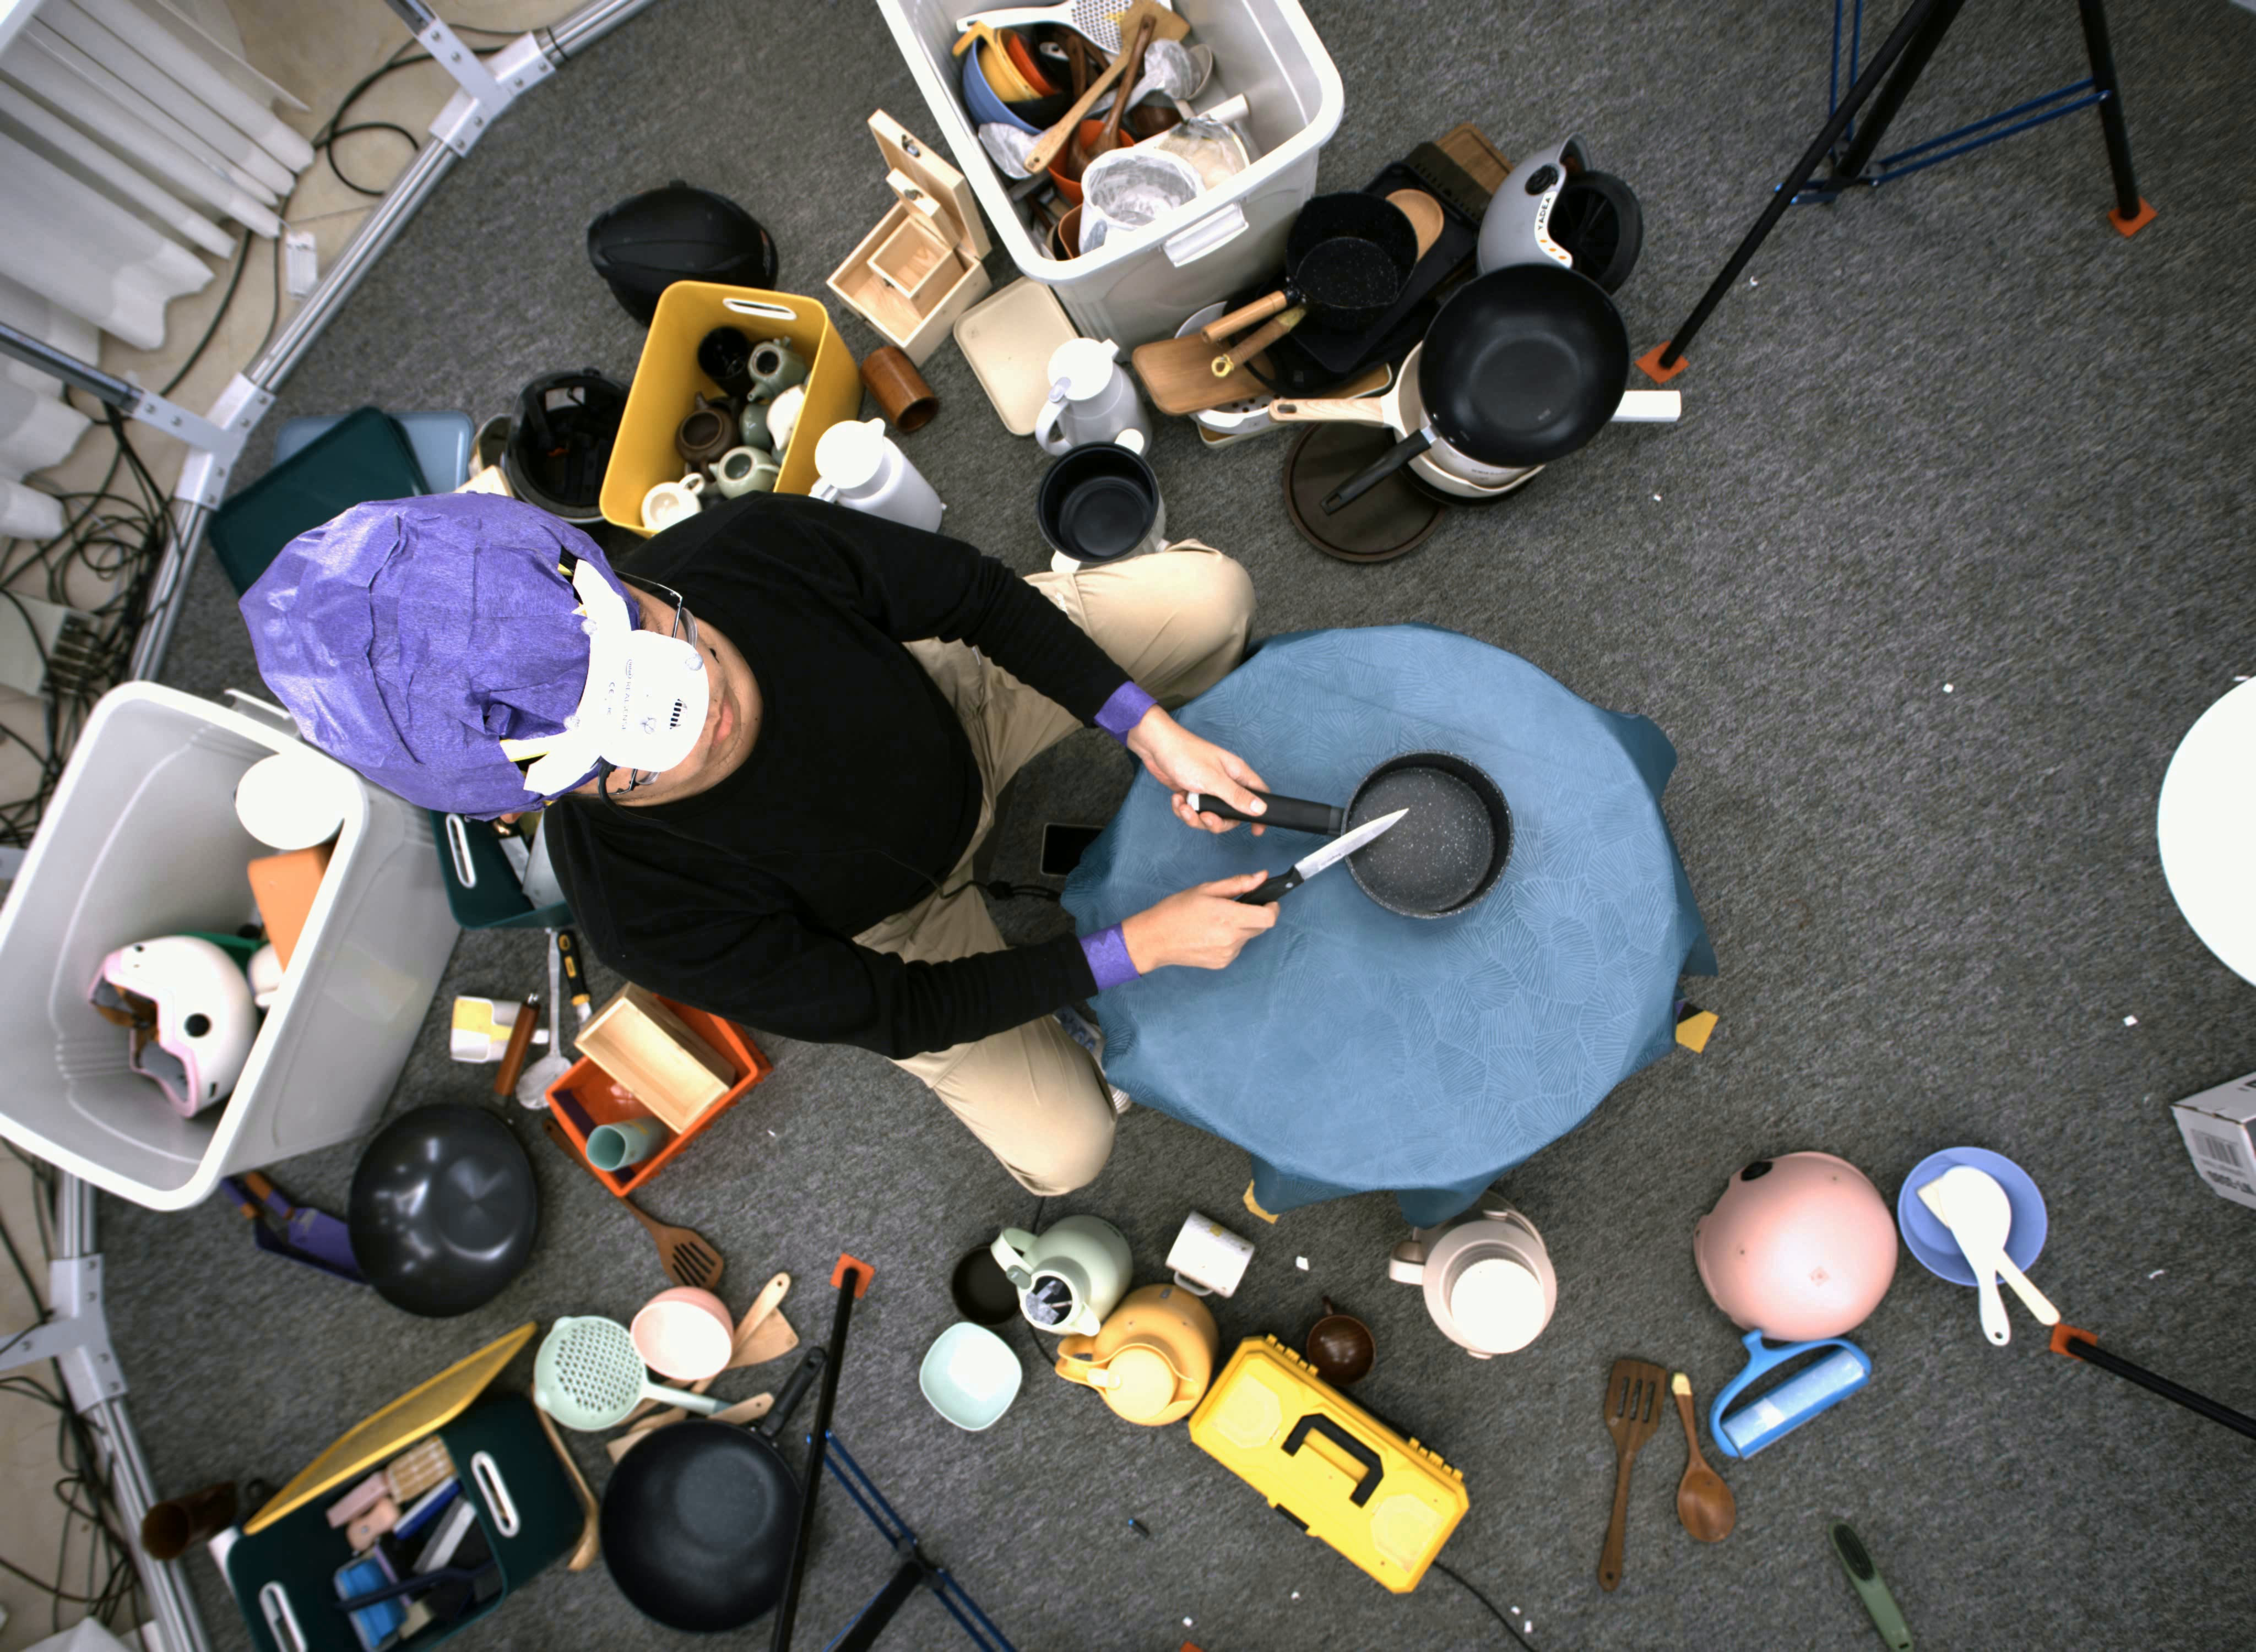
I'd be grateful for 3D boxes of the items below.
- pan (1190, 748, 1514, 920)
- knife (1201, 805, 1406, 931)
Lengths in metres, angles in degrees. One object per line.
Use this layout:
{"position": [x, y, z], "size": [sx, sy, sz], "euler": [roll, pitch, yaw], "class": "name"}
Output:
{"position": [0.226, -0.006, 1.419], "size": [0.329, 0.086, 0.171], "euler": [12, 87, 6], "class": "pan"}
{"position": [0.177, 0.042, 1.391], "size": [0.240, 0.016, 0.025], "euler": [-32, 117, 15], "class": "knife"}
